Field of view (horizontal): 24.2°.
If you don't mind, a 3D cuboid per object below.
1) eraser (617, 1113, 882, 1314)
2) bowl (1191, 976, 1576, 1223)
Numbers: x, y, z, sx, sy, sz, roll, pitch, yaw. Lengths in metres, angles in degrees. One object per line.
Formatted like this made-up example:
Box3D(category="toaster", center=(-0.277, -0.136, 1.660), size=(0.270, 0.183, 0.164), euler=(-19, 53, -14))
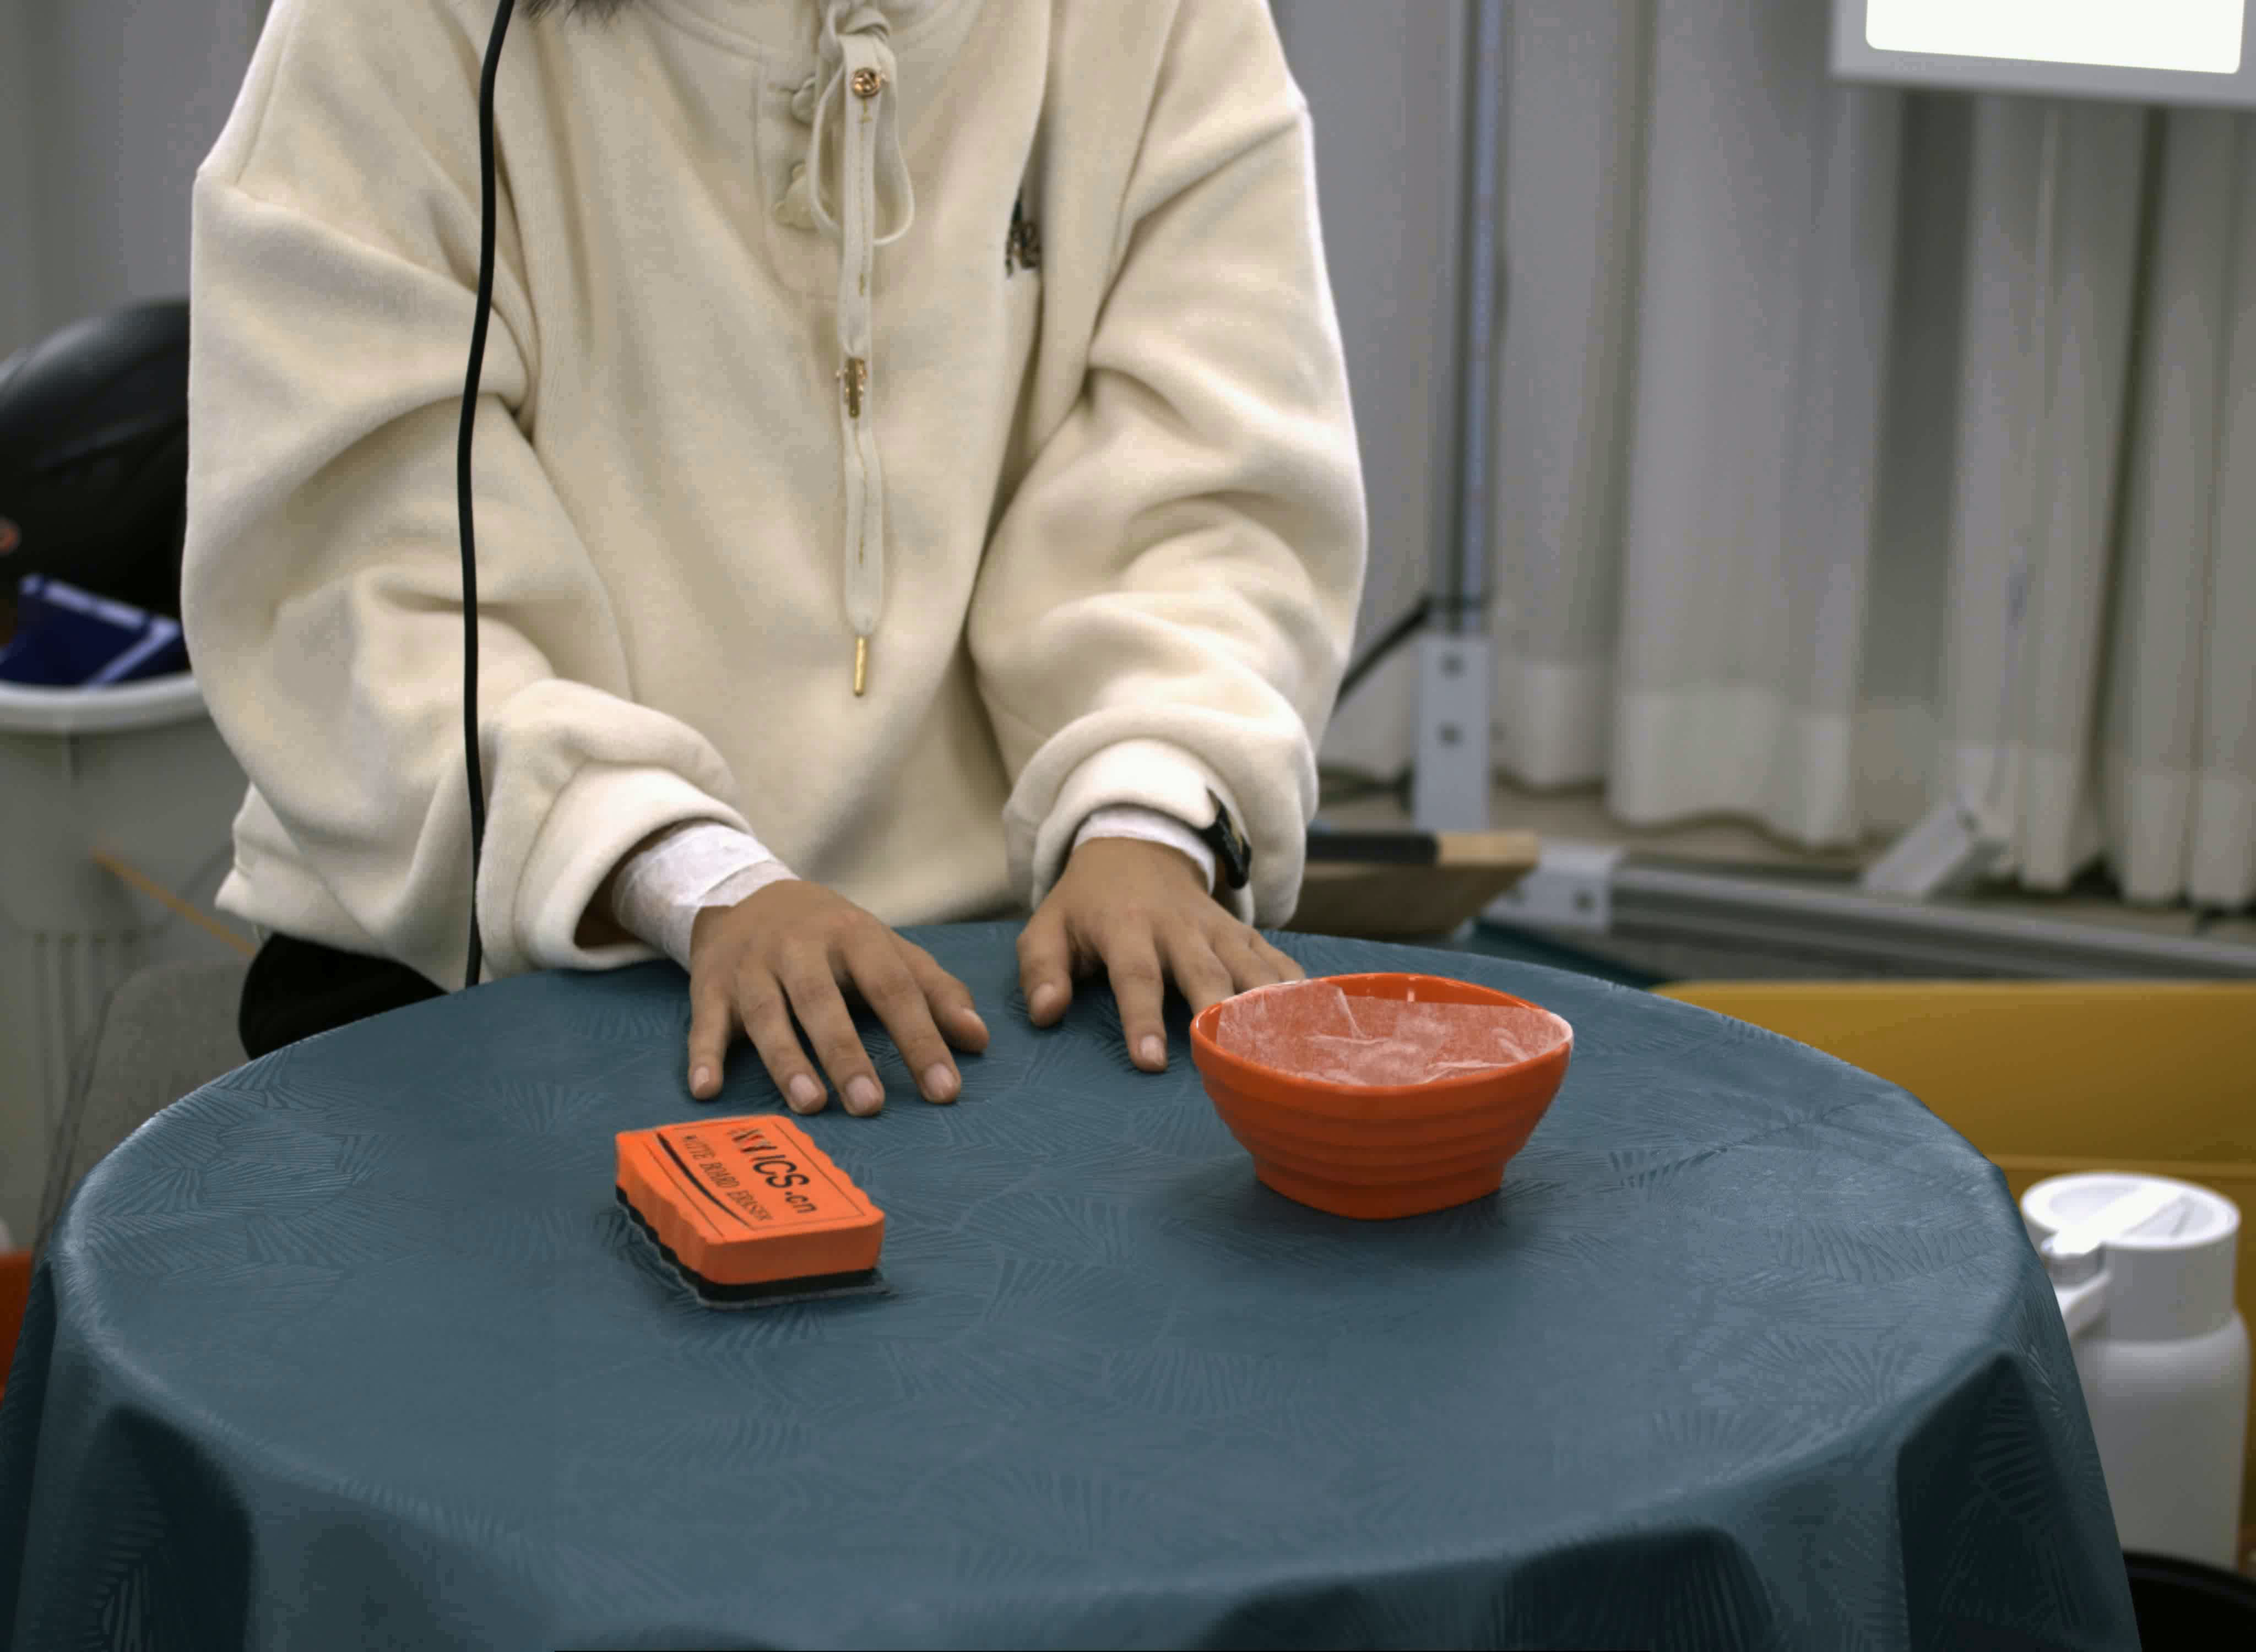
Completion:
Box3D(category="eraser", center=(-0.113, 0.114, 1.567), size=(0.059, 0.023, 0.107), euler=(-7, 17, -19))
Box3D(category="bowl", center=(0.079, 0.086, 1.625), size=(0.118, 0.052, 0.118), euler=(-1, 15, 1))
